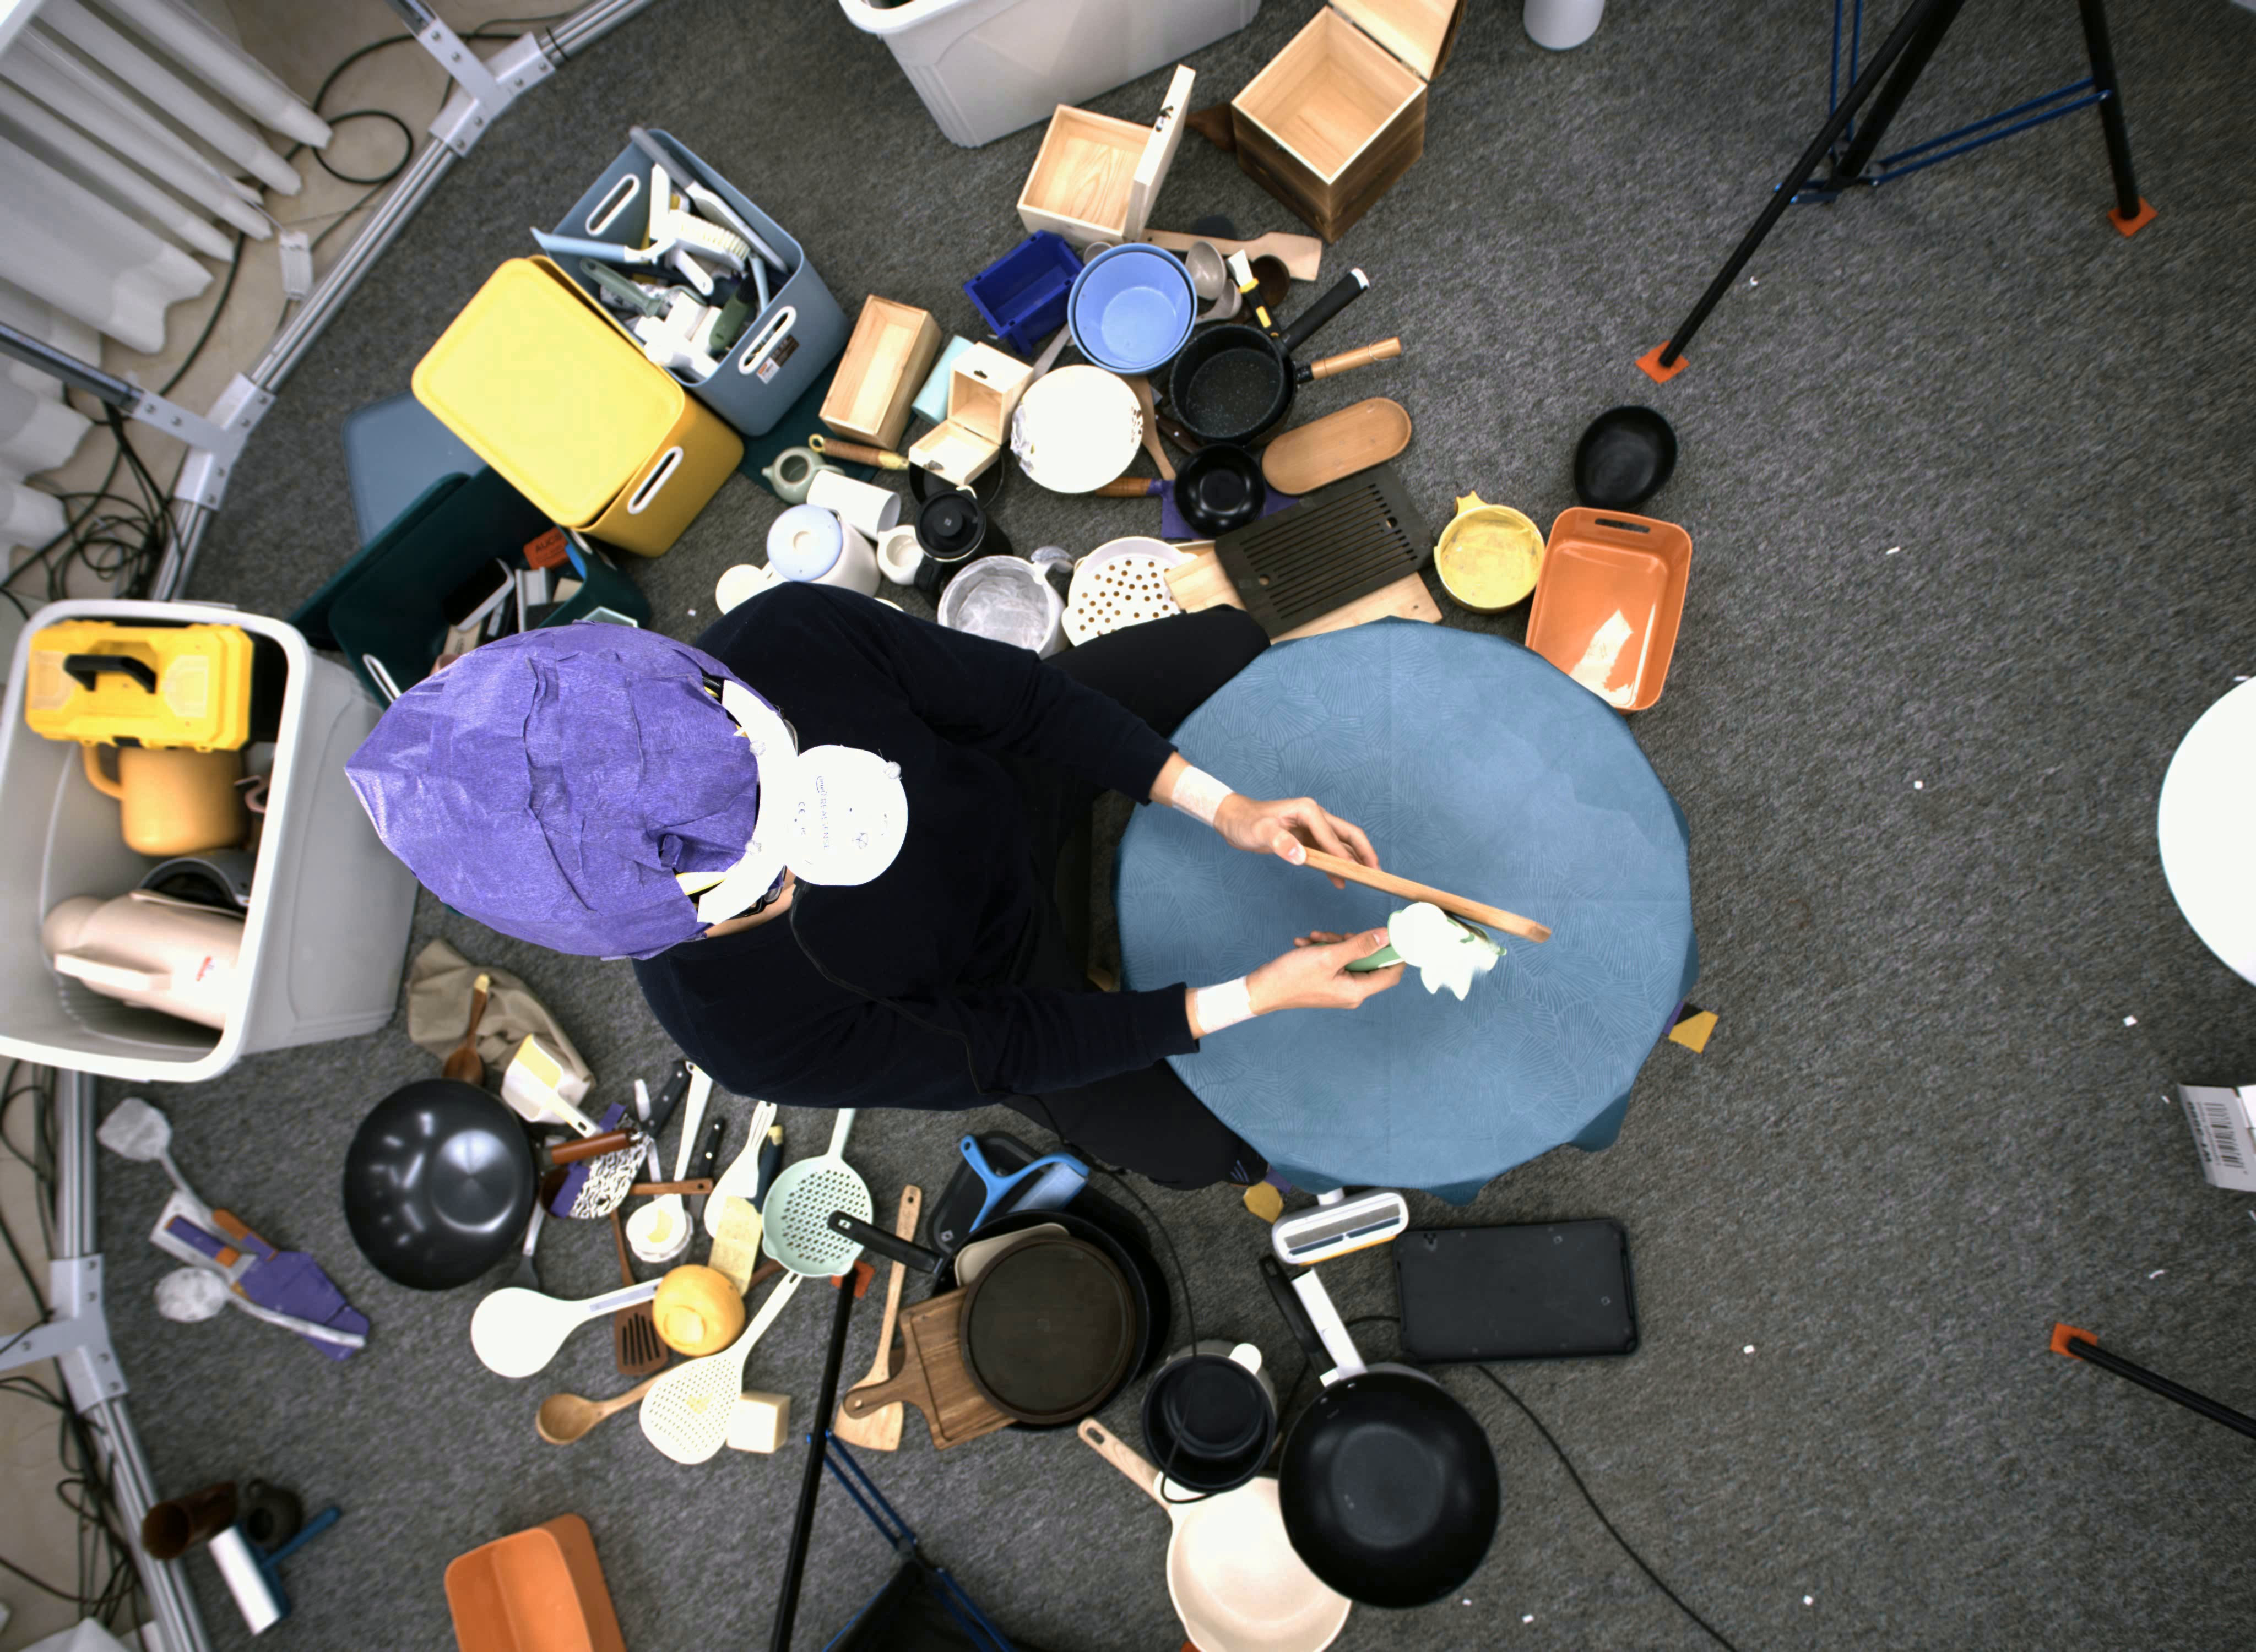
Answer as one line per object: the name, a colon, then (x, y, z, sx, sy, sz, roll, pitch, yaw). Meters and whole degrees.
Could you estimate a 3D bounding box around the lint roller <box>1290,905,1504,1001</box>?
lint roller: (0.241, 0.133, 1.275, 0.185, 0.199, 0.081, -23, 71, 22)

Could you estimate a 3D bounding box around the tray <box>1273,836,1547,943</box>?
tray: (0.258, 0.057, 1.274, 0.250, 0.131, 0.023, 18, 87, 28)
